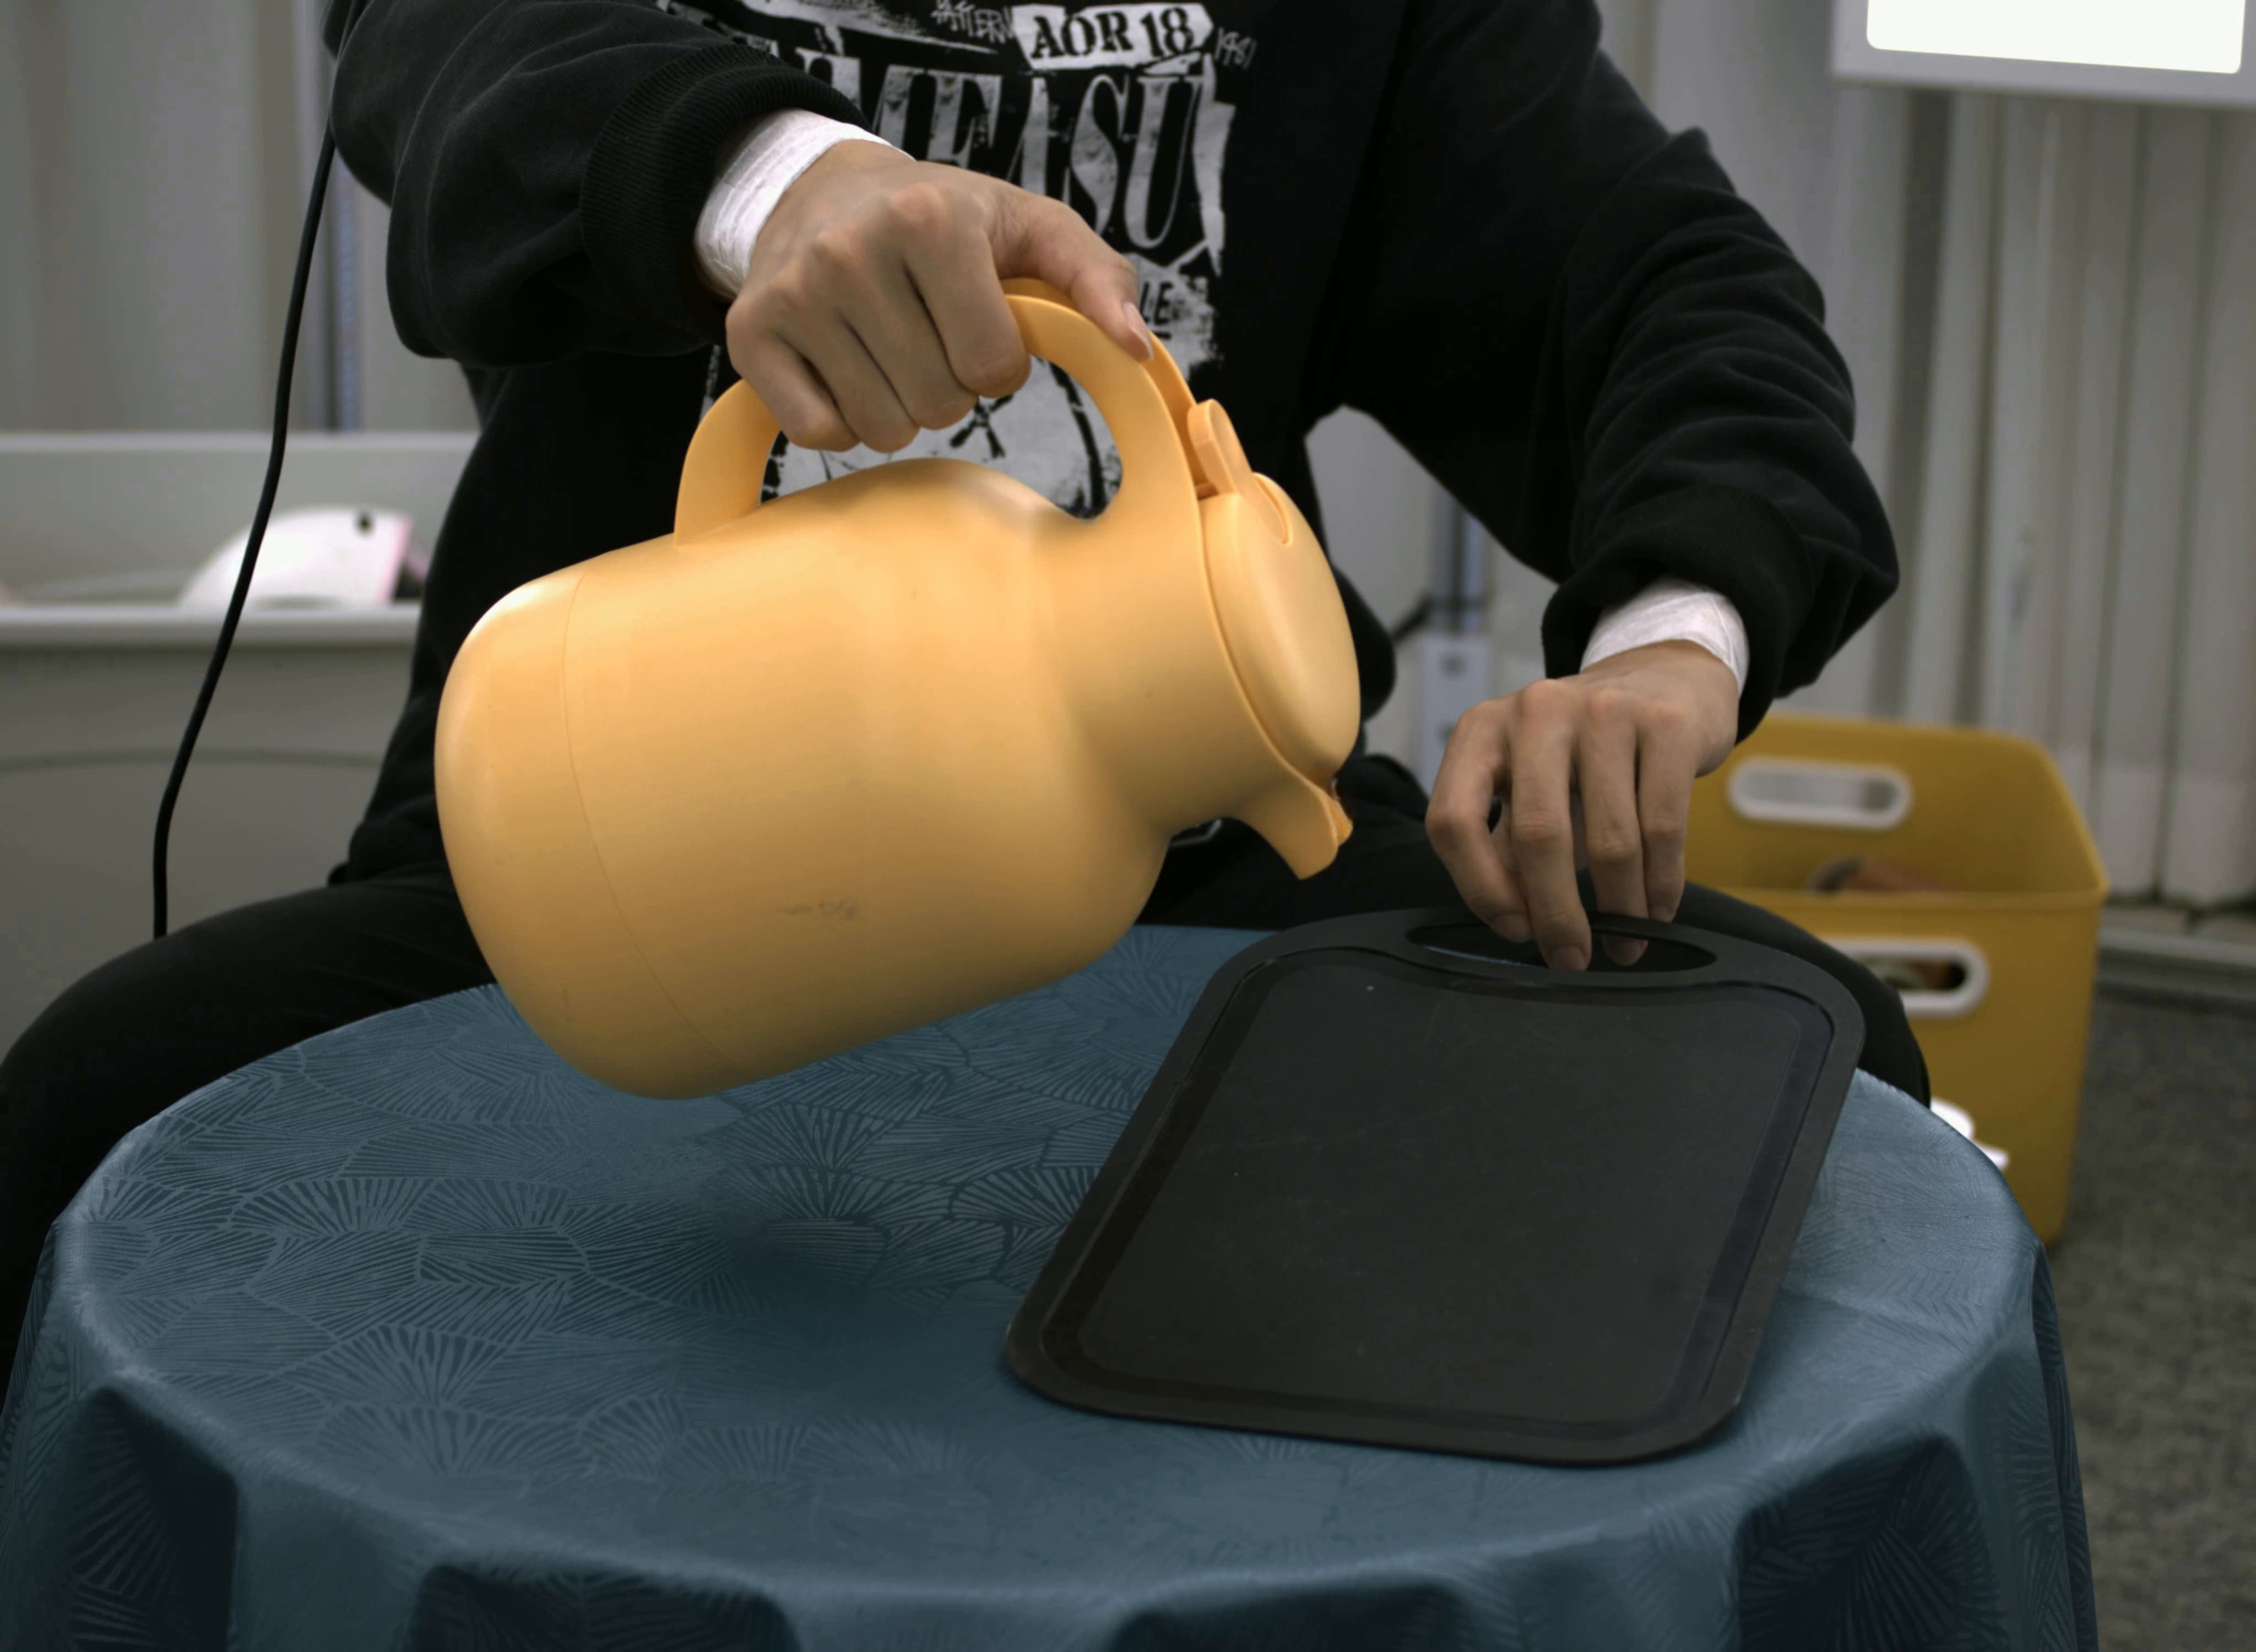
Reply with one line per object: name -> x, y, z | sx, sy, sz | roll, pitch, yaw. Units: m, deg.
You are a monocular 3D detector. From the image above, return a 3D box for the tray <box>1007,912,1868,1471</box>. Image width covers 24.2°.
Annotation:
tray -> 0.099, 0.097, 1.565 | 0.209, 0.010, 0.324 | 6, 27, 15

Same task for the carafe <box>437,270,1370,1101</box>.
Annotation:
carafe -> -0.067, -0.044, 1.526 | 0.259, 0.204, 0.163 | -18, 10, 15
